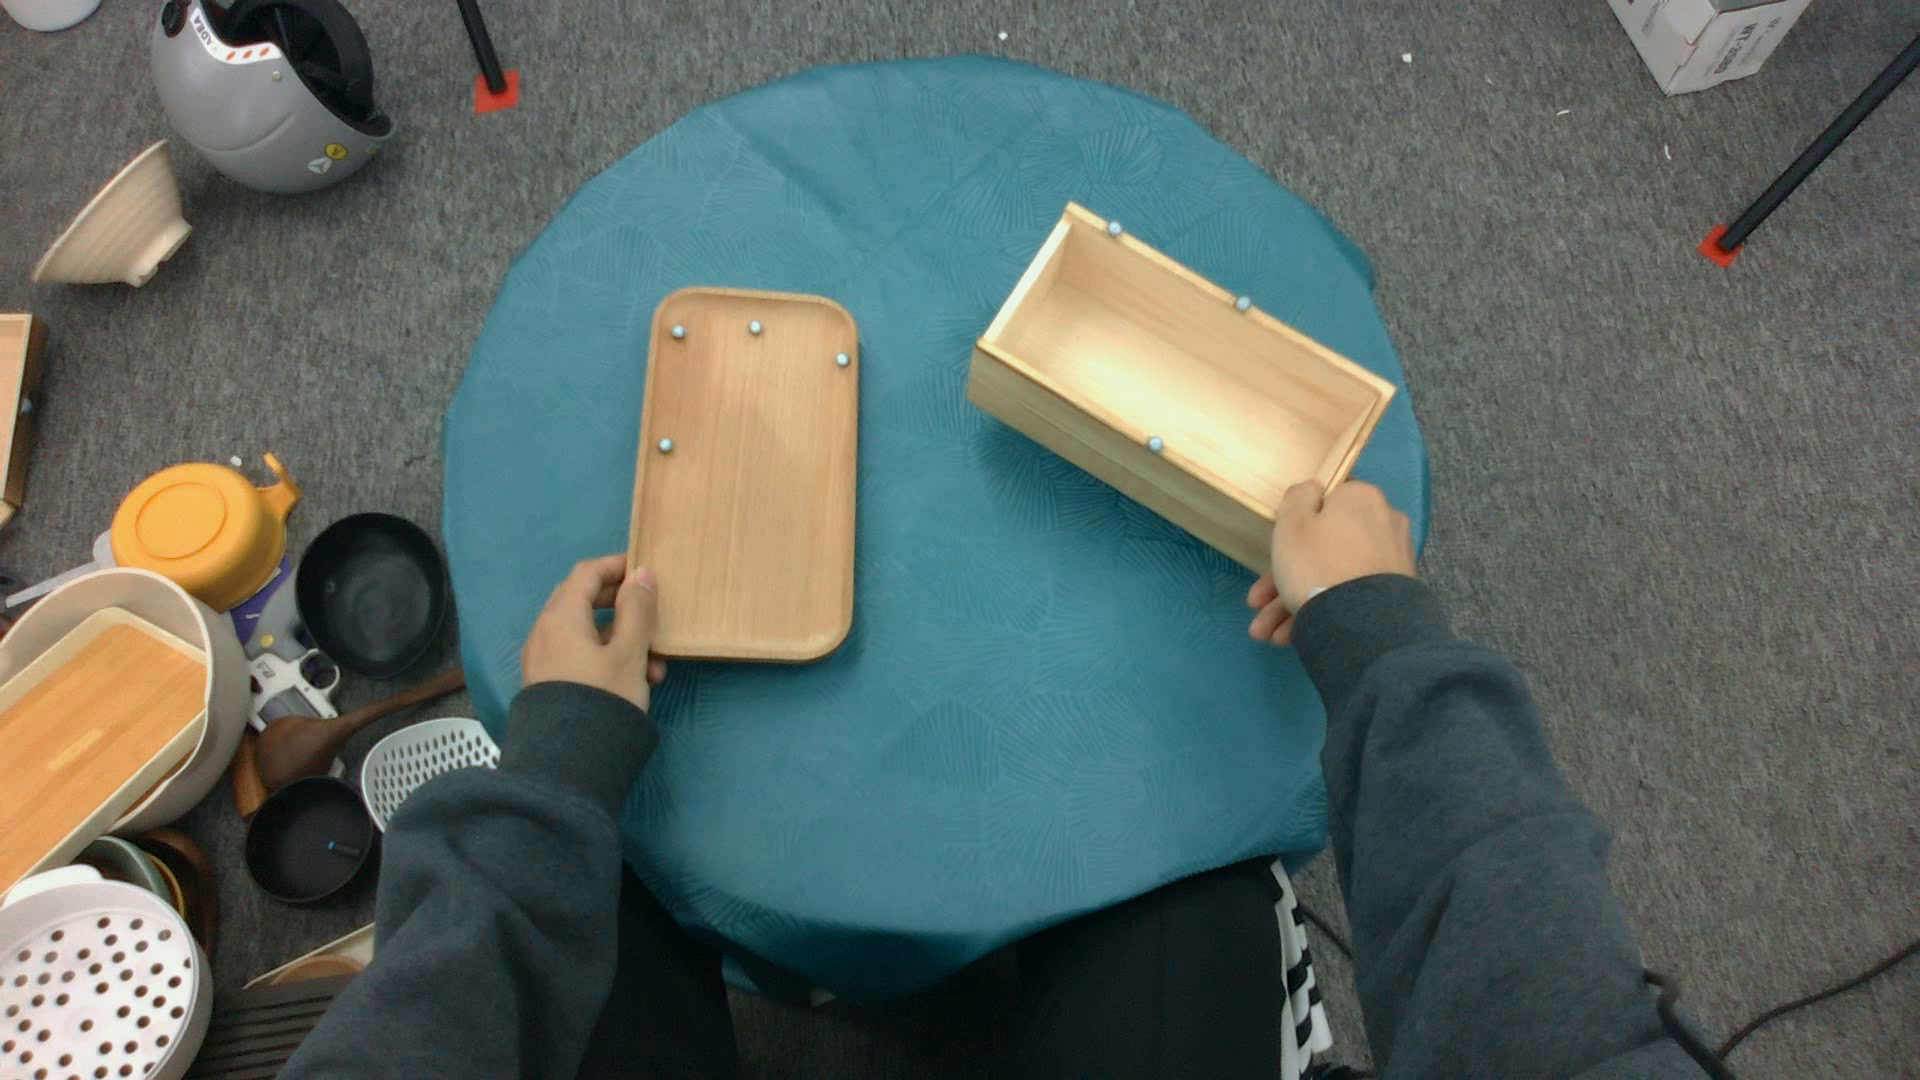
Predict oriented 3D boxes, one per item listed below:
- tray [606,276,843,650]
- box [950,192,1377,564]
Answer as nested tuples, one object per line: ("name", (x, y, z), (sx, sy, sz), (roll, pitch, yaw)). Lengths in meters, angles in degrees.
("tray", (-0.134, -0.051, 0.811), (0.130, 0.023, 0.251), (2, 62, -6))
("box", (0.113, -0.091, 0.794), (0.211, 0.080, 0.108), (31, 74, 5))
